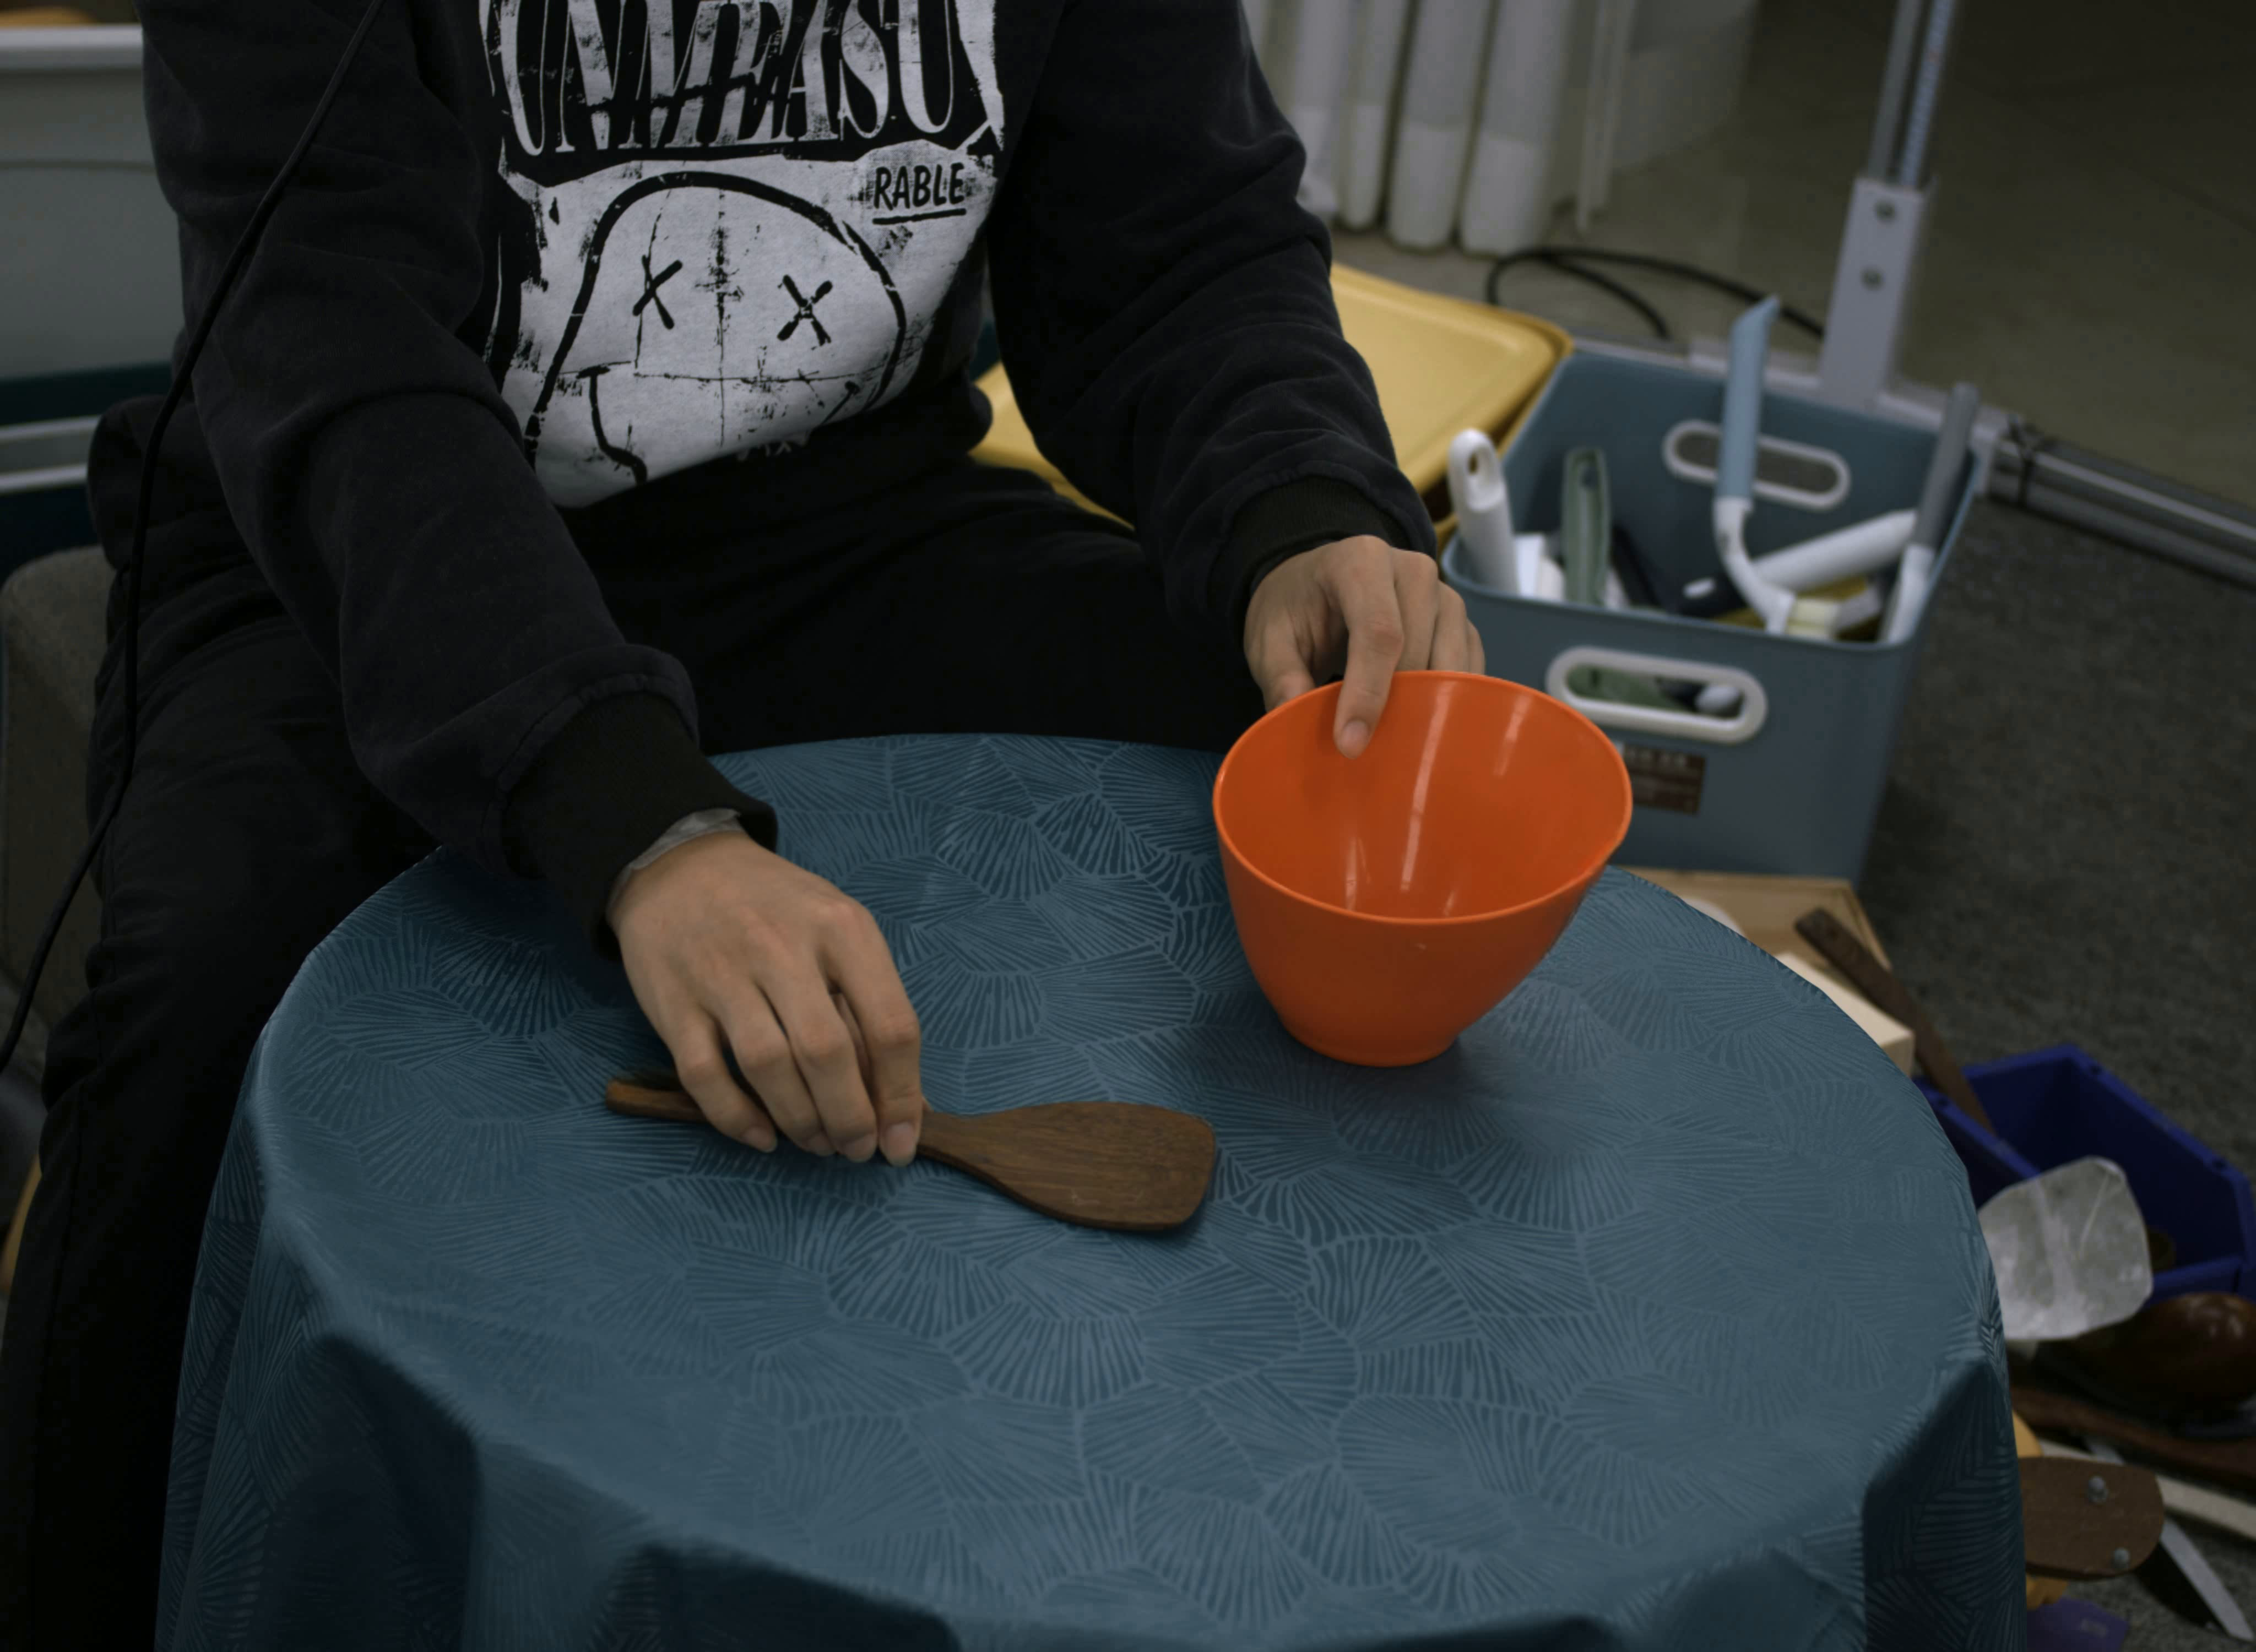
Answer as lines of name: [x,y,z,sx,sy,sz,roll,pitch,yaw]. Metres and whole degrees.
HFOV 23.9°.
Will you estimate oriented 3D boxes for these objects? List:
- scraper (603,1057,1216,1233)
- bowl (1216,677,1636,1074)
scraper: [-0.075,0.103,1.811,0.211,0.011,0.076,9,29,6]
bowl: [0.101,0.025,1.902,0.147,0.104,0.149,5,31,-3]
